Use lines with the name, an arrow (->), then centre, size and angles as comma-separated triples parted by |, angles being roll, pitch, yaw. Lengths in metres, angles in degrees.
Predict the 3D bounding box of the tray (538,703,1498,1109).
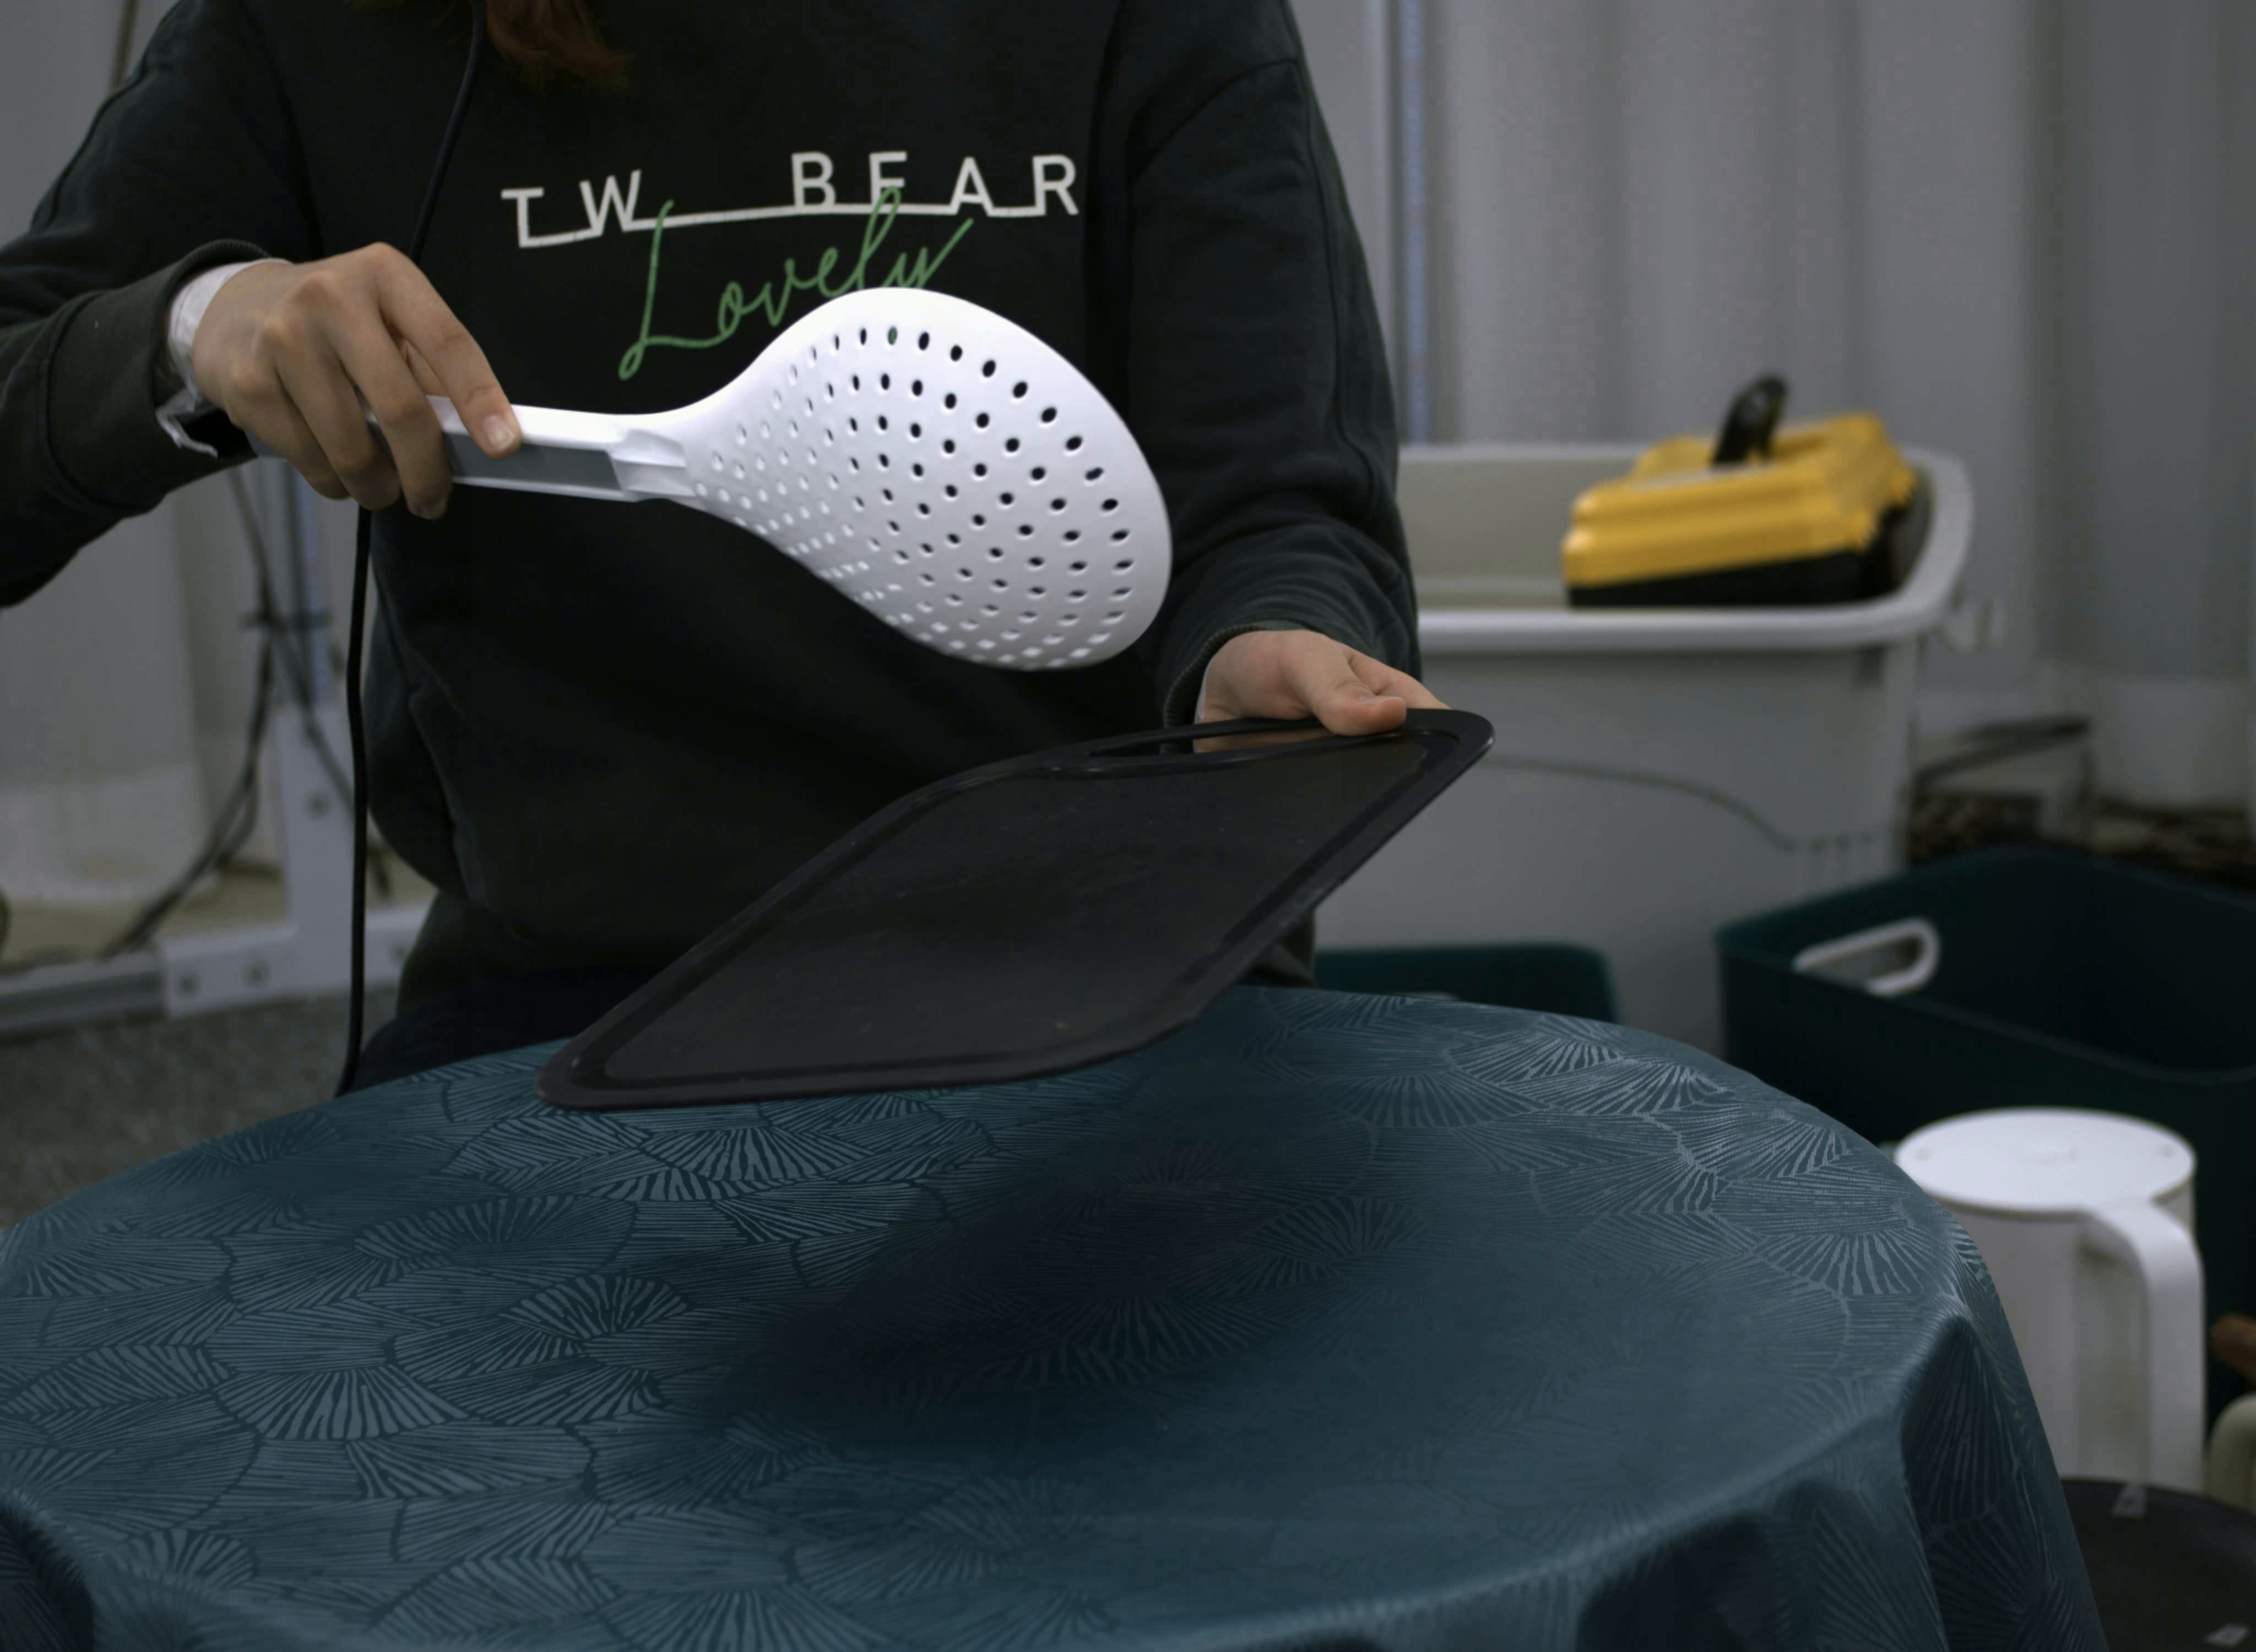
tray -> -0.024, 0.017, 1.615 | 0.211, 0.010, 0.327 | -6, 17, 28

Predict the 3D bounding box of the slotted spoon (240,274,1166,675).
slotted spoon -> -0.140, -0.113, 1.679 | 0.351, 0.134, 0.046 | 12, 39, 38
